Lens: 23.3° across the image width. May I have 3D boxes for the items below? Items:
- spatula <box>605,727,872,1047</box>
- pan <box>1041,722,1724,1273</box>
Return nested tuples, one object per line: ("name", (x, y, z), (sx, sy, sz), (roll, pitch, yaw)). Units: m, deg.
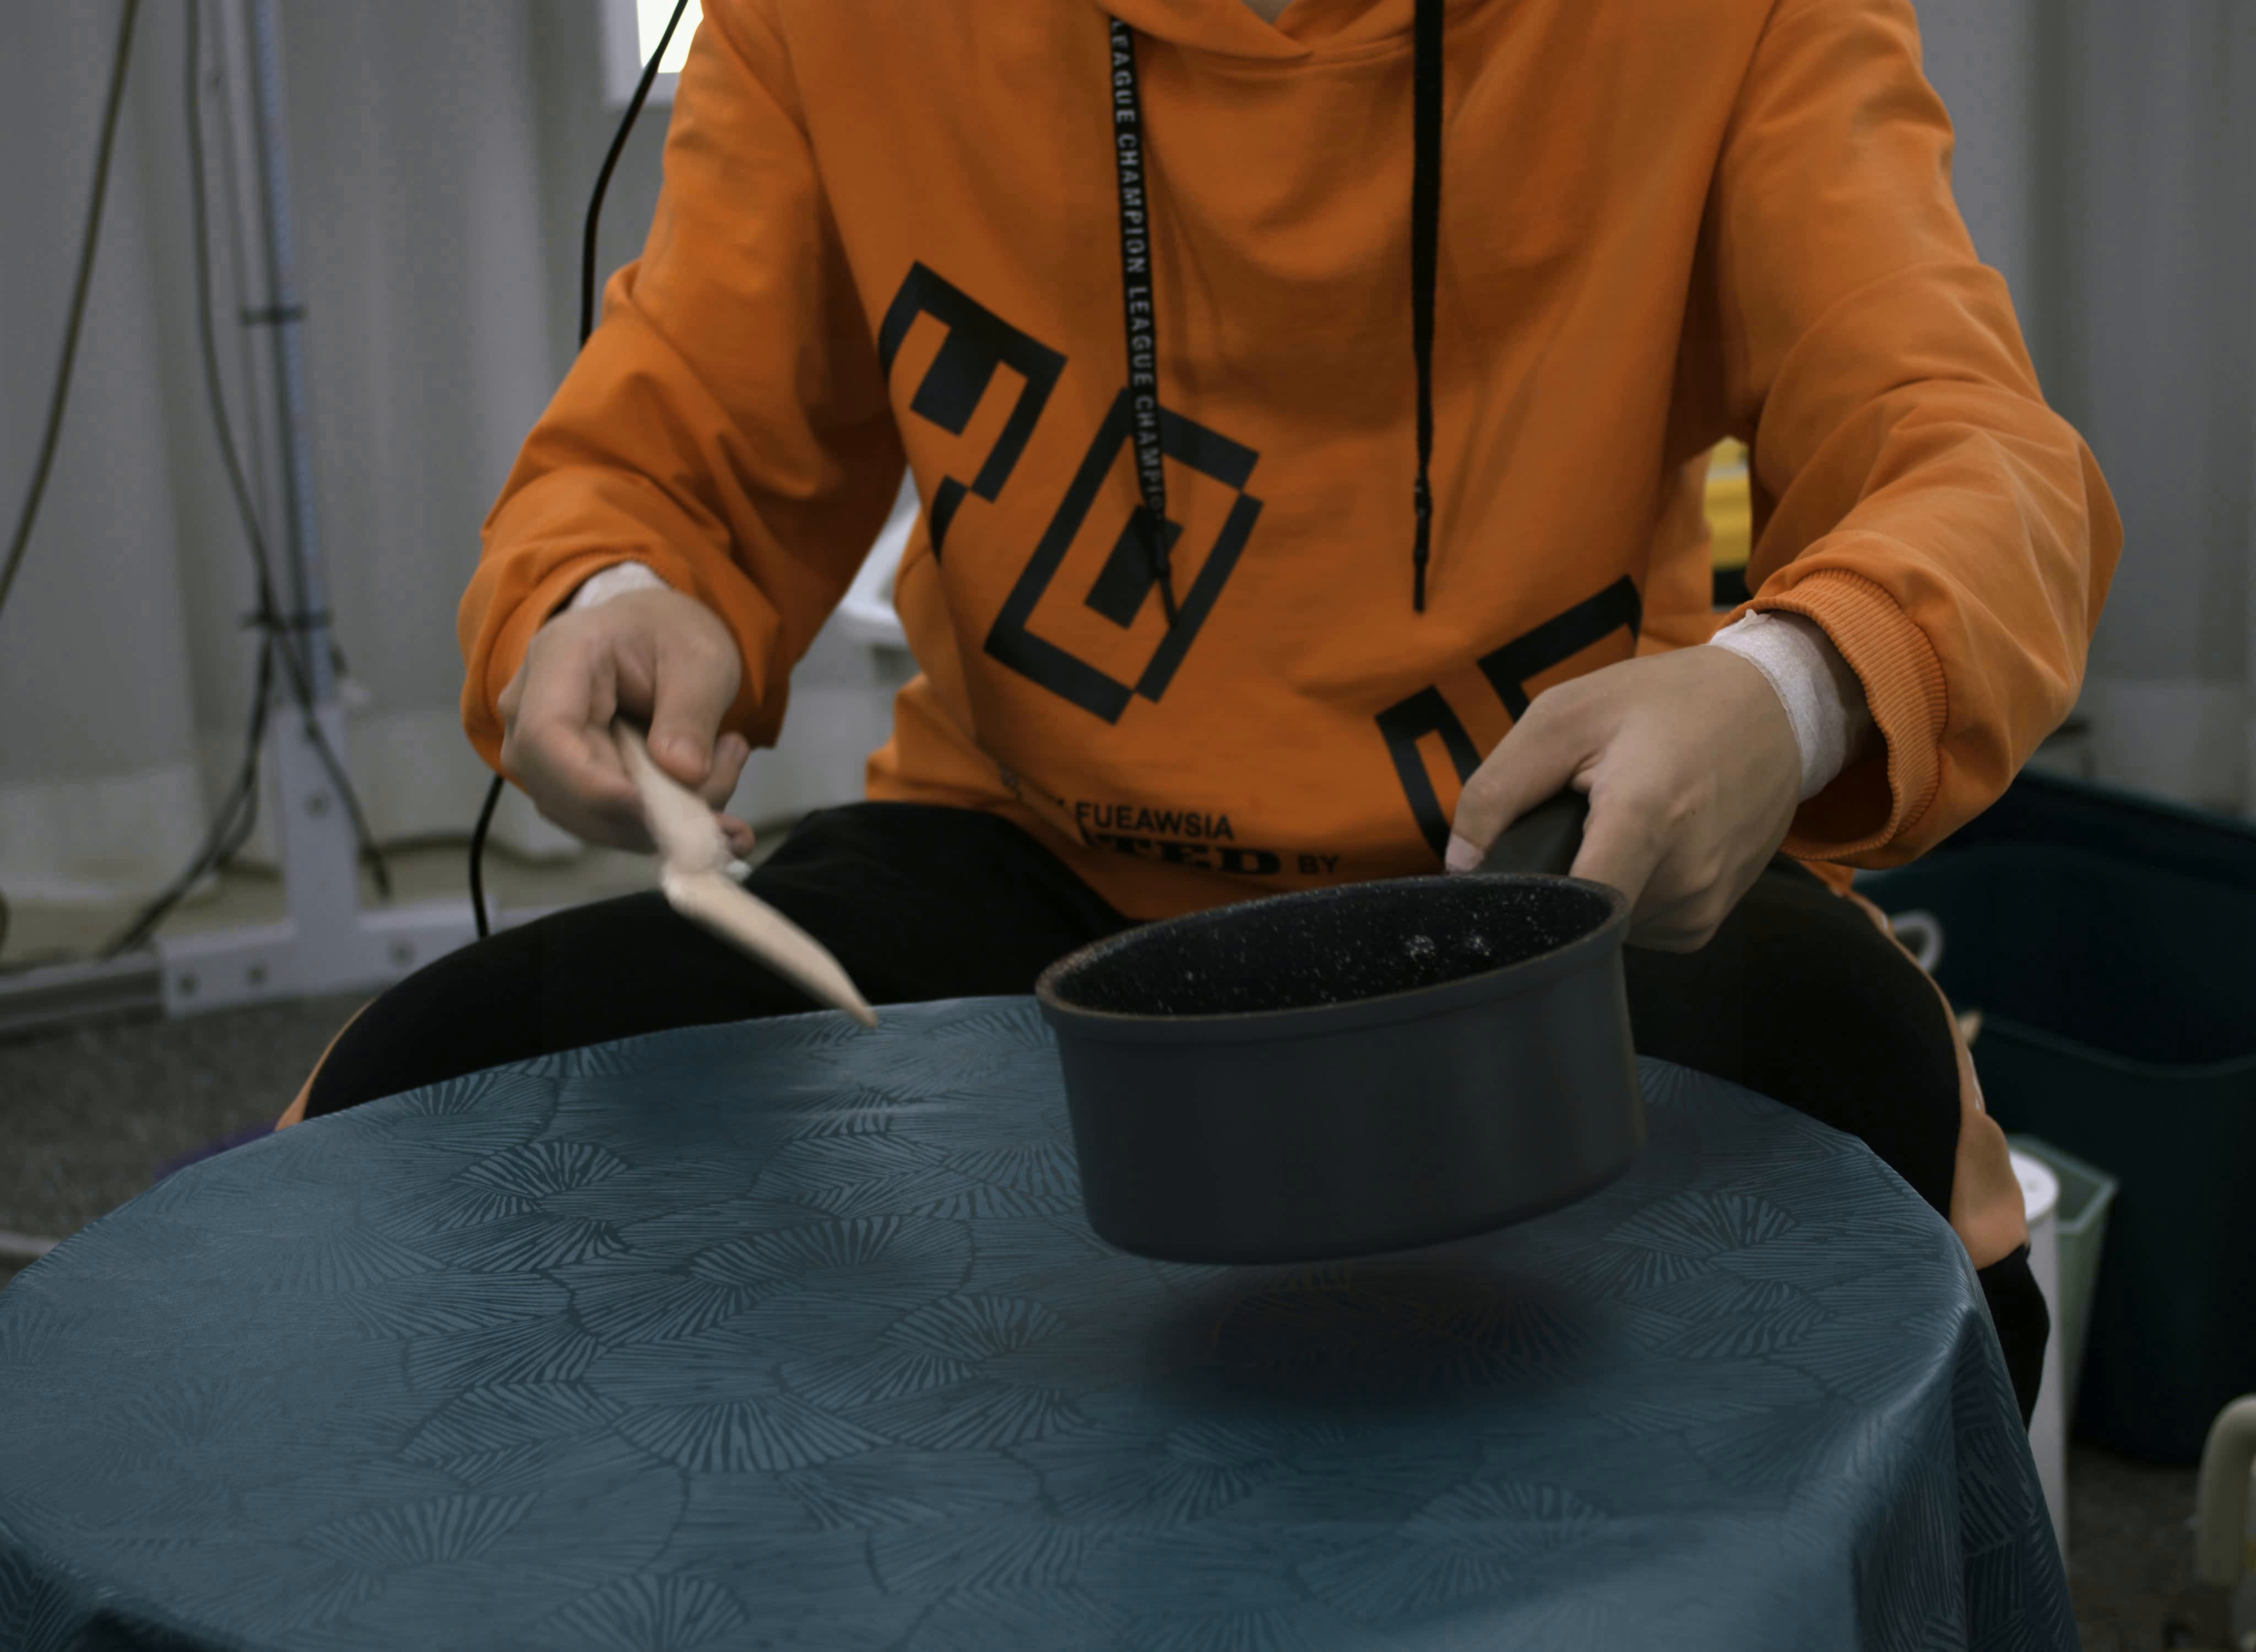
("spatula", (-0.138, 0.011, 1.747), (0.071, 0.010, 0.295), (31, 7, -19))
("pan", (0.102, 0.048, 1.629), (0.172, 0.086, 0.329), (-3, 13, 30))
